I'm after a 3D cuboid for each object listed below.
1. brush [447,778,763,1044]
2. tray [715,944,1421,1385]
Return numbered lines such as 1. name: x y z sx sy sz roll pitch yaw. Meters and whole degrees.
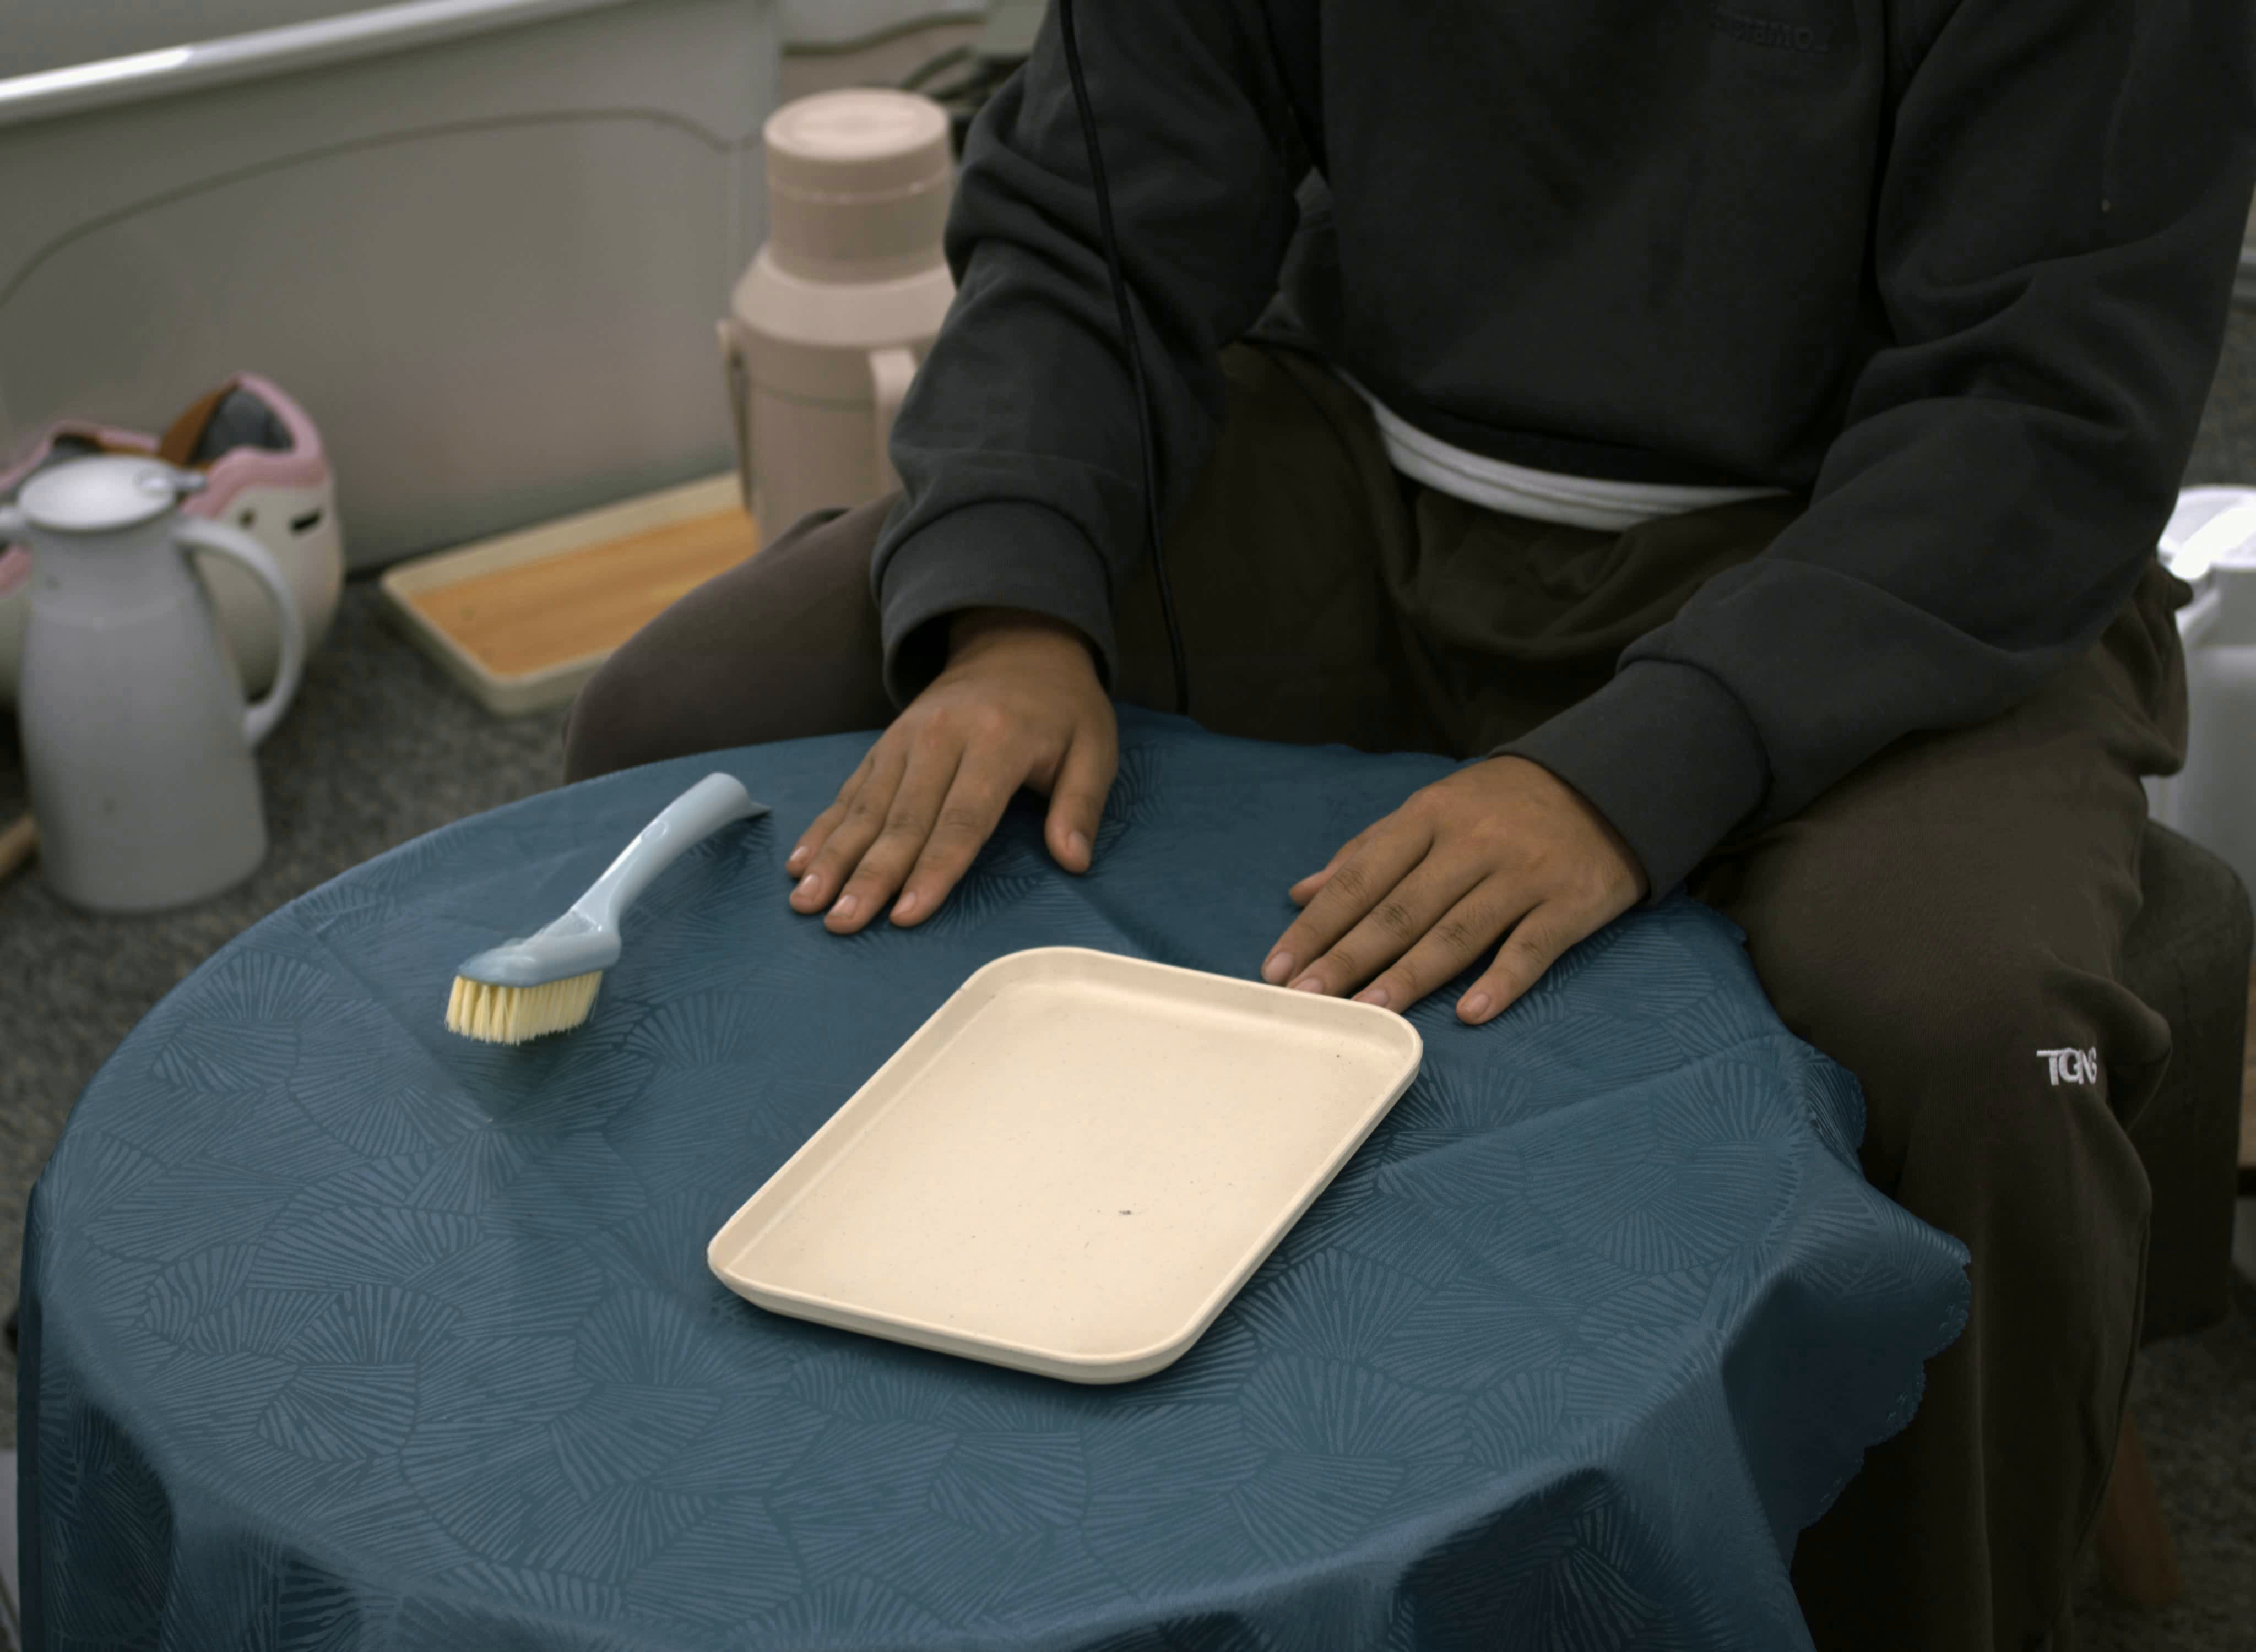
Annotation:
1. brush: -0.185 0.031 2.023 0.037 0.049 0.232 12 22 15
2. tray: -0.017 0.111 1.867 0.170 0.017 0.243 11 30 23
